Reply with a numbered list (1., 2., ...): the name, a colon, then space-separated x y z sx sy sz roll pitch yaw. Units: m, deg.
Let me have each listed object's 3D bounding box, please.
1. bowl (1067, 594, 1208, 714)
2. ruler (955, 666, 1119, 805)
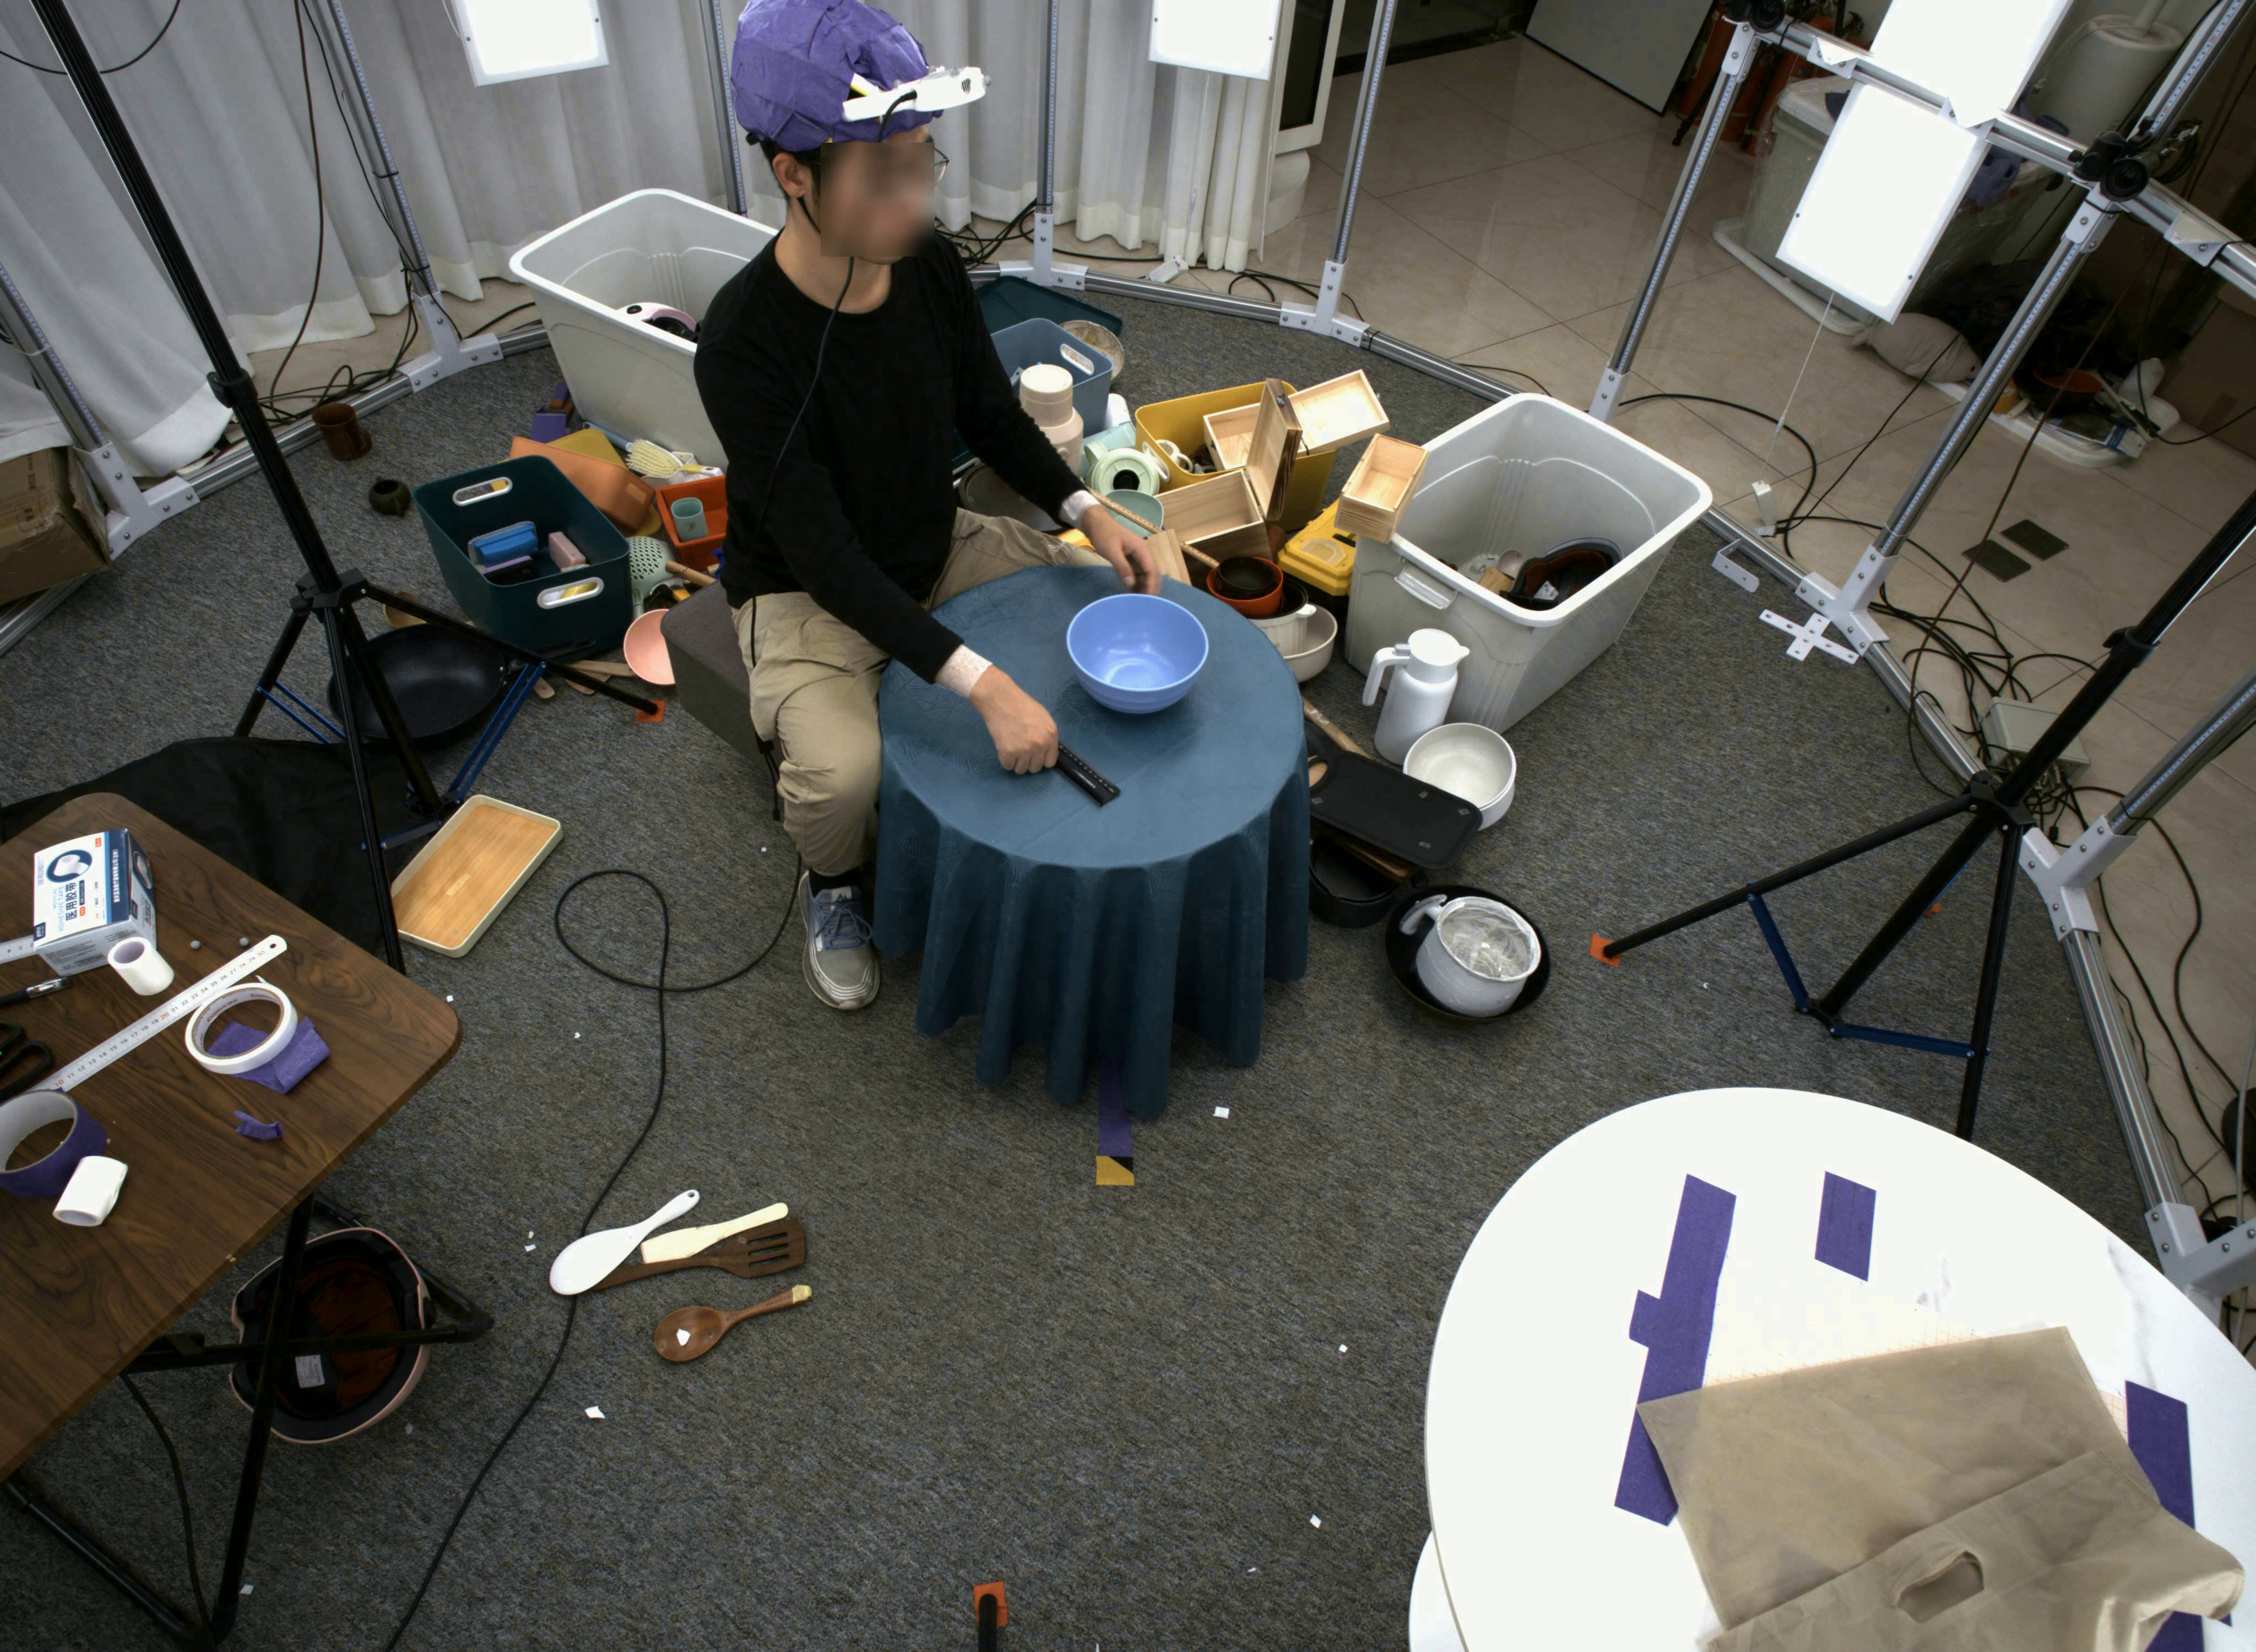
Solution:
1. bowl: 0.010 -0.227 1.806 0.196 0.093 0.201 2 49 -3
2. ruler: -0.128 -0.133 1.764 0.039 0.017 0.317 -33 58 -28
